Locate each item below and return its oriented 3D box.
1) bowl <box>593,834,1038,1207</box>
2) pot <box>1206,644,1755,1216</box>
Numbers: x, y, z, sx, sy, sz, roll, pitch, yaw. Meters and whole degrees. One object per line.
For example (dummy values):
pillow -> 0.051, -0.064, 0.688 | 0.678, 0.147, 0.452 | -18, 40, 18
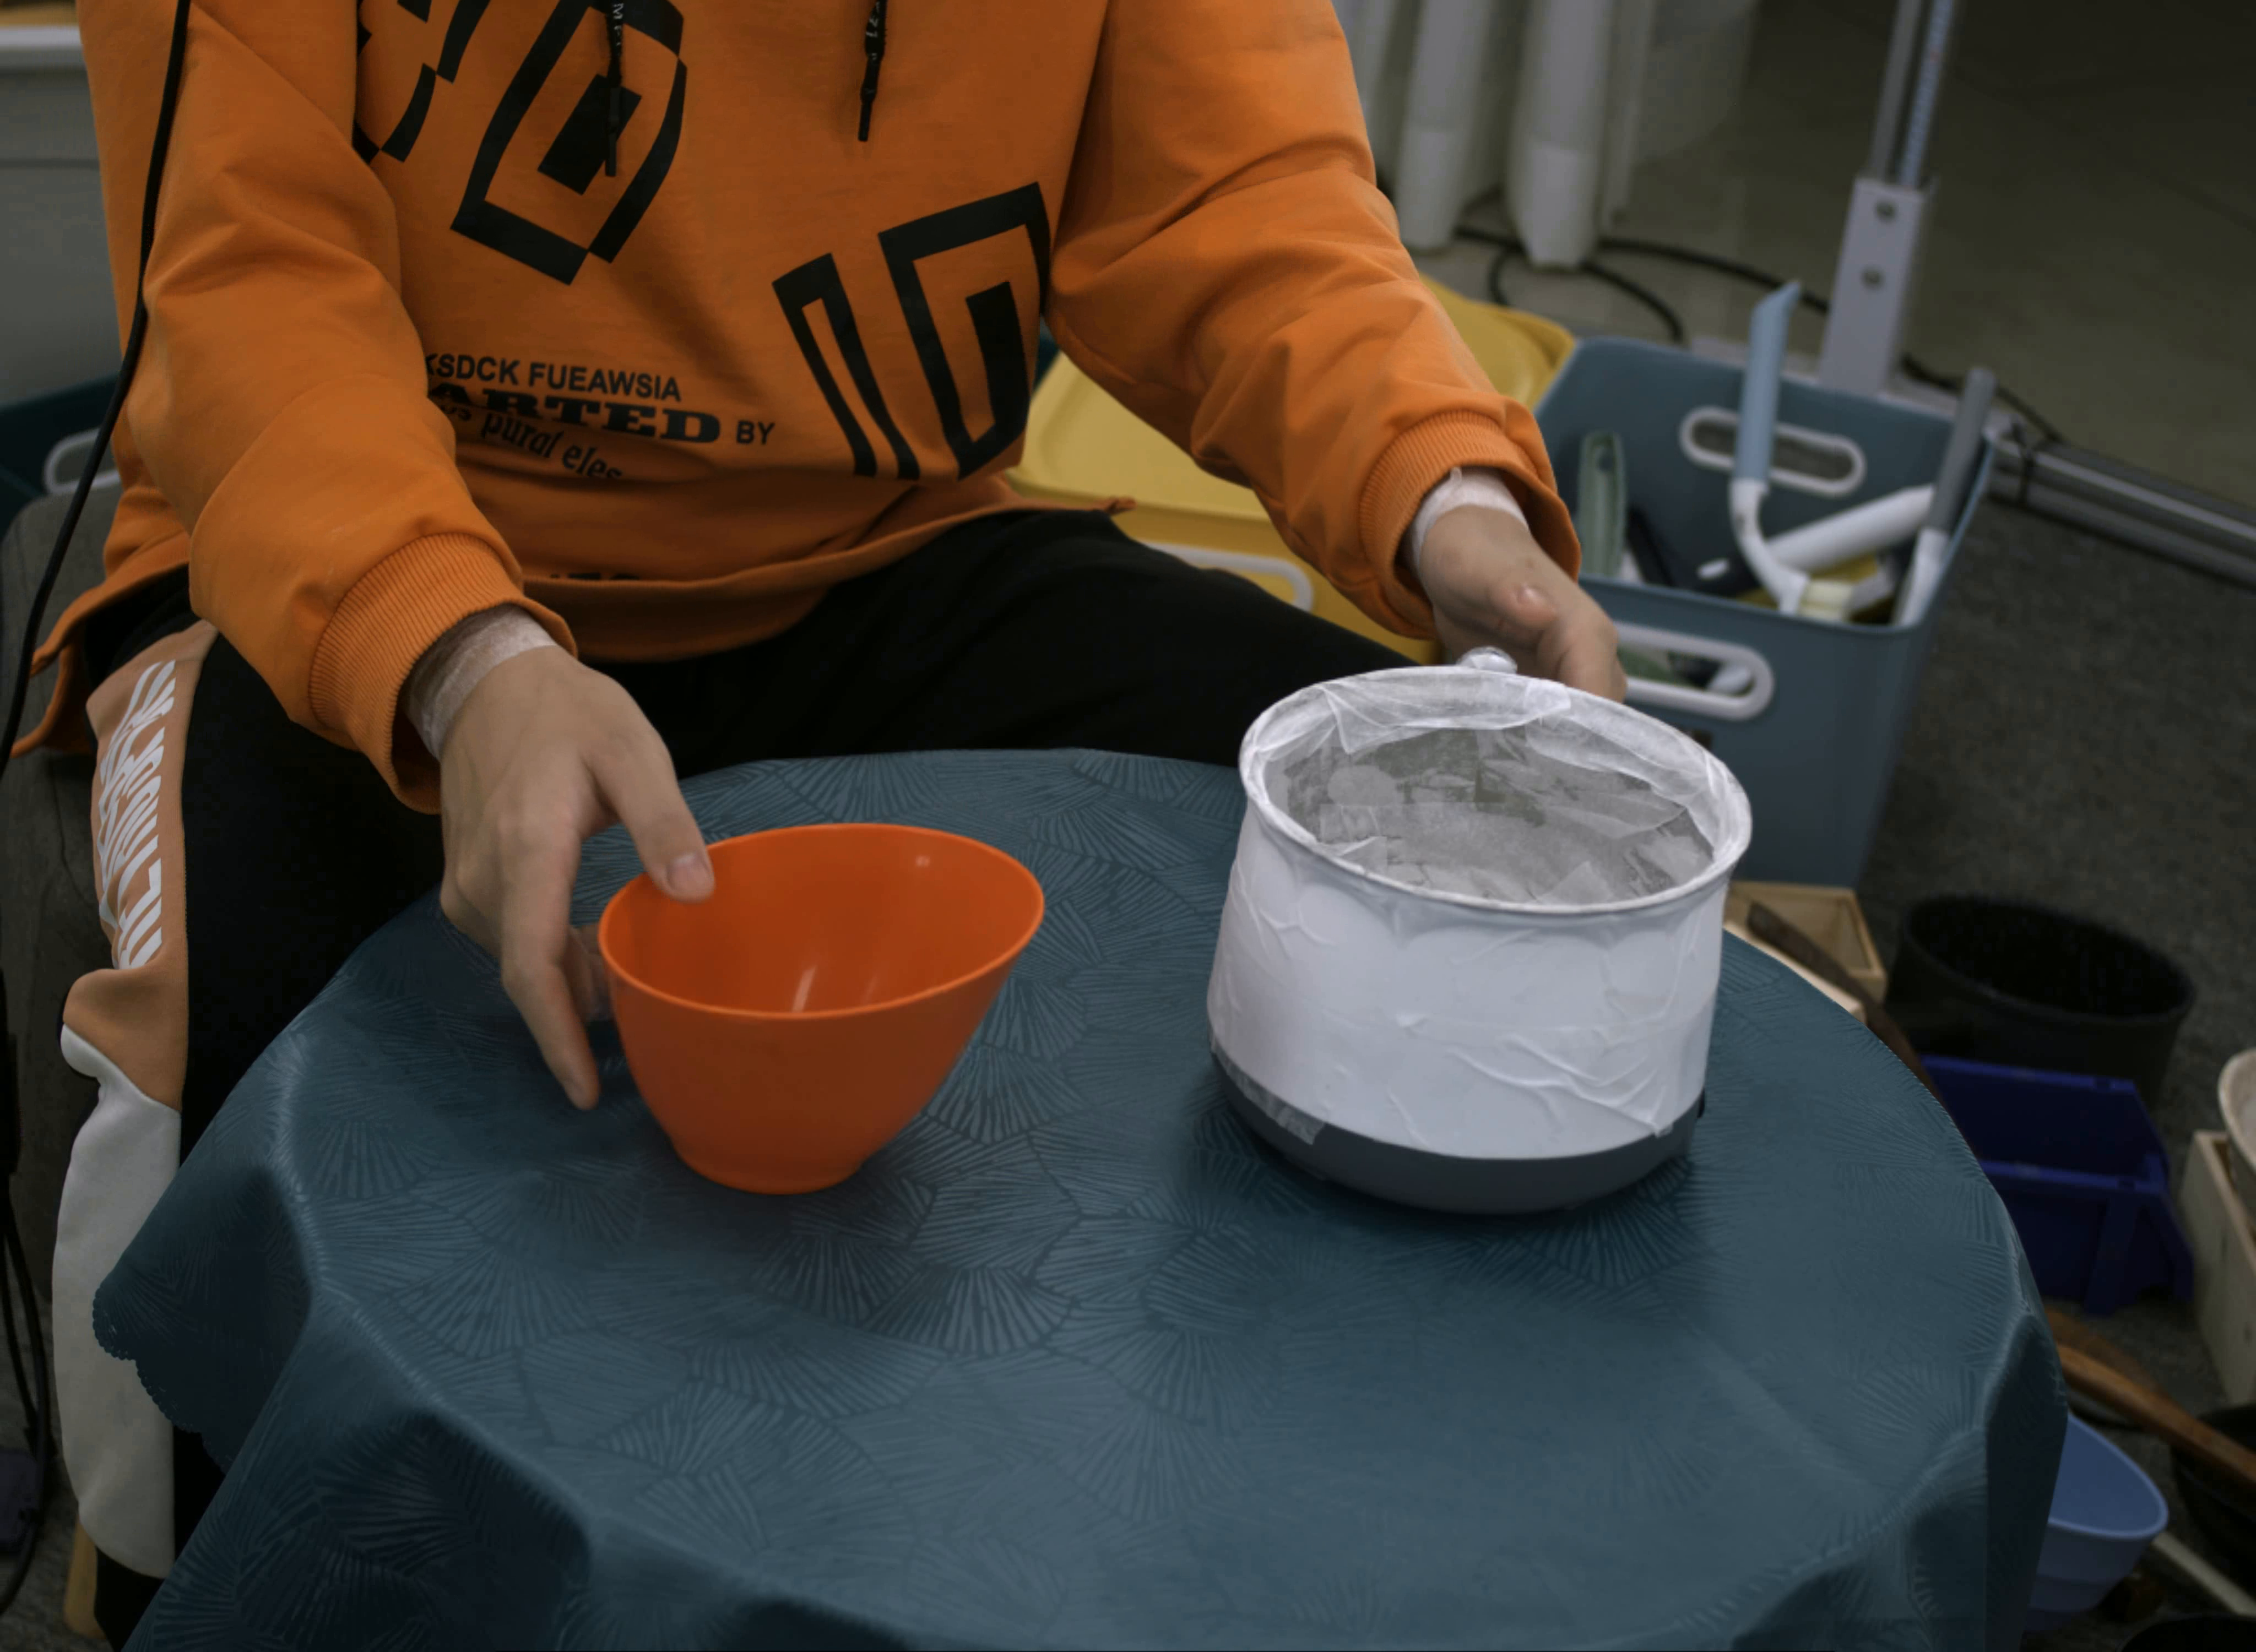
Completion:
bowl -> -0.107, 0.069, 1.780 | 0.147, 0.104, 0.149 | 4, 26, -2
pot -> 0.119, 0.029, 1.864 | 0.178, 0.136, 0.235 | 6, 27, -2
